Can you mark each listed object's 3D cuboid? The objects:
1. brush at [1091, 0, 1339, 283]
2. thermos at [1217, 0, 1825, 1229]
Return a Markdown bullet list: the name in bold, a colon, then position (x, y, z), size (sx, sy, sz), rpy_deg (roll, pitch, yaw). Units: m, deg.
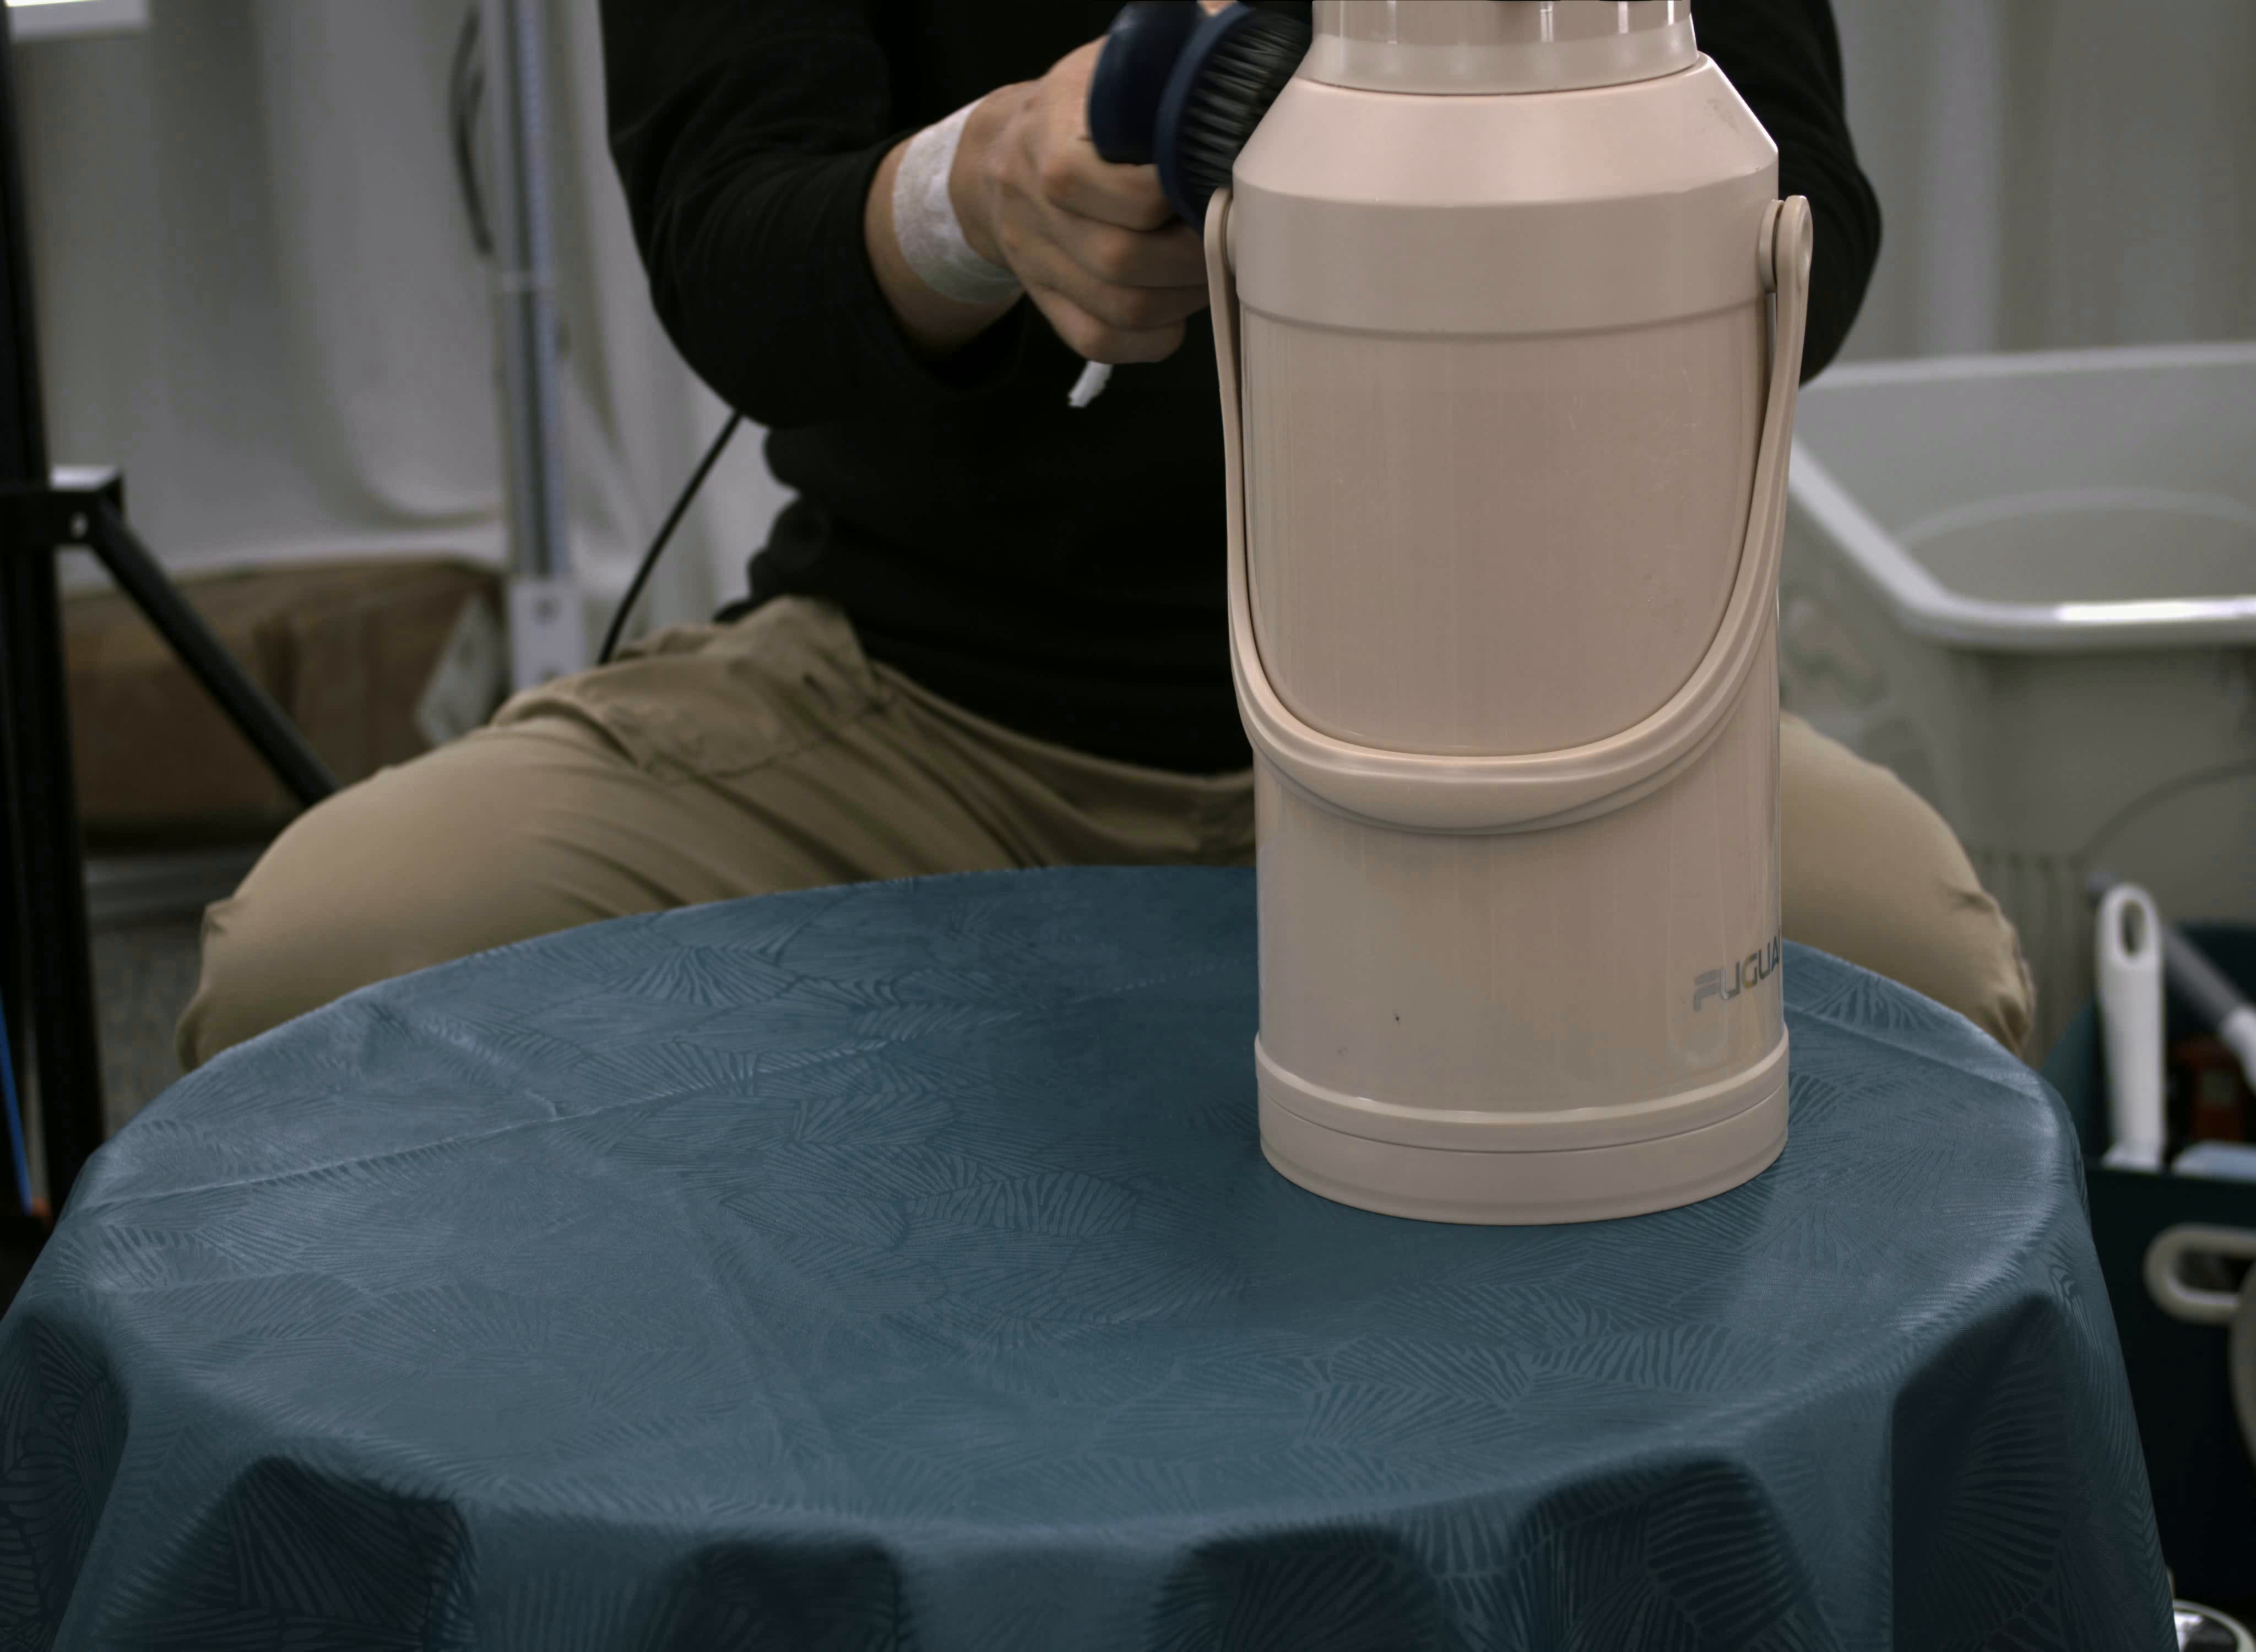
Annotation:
- **brush**: position (0.038, -0.204, 1.589), size (0.062, 0.068, 0.119), rpy_deg (27, -6, 28)
- **thermos**: position (0.120, -0.101, 1.549), size (0.177, 0.406, 0.205), rpy_deg (2, 16, 20)
